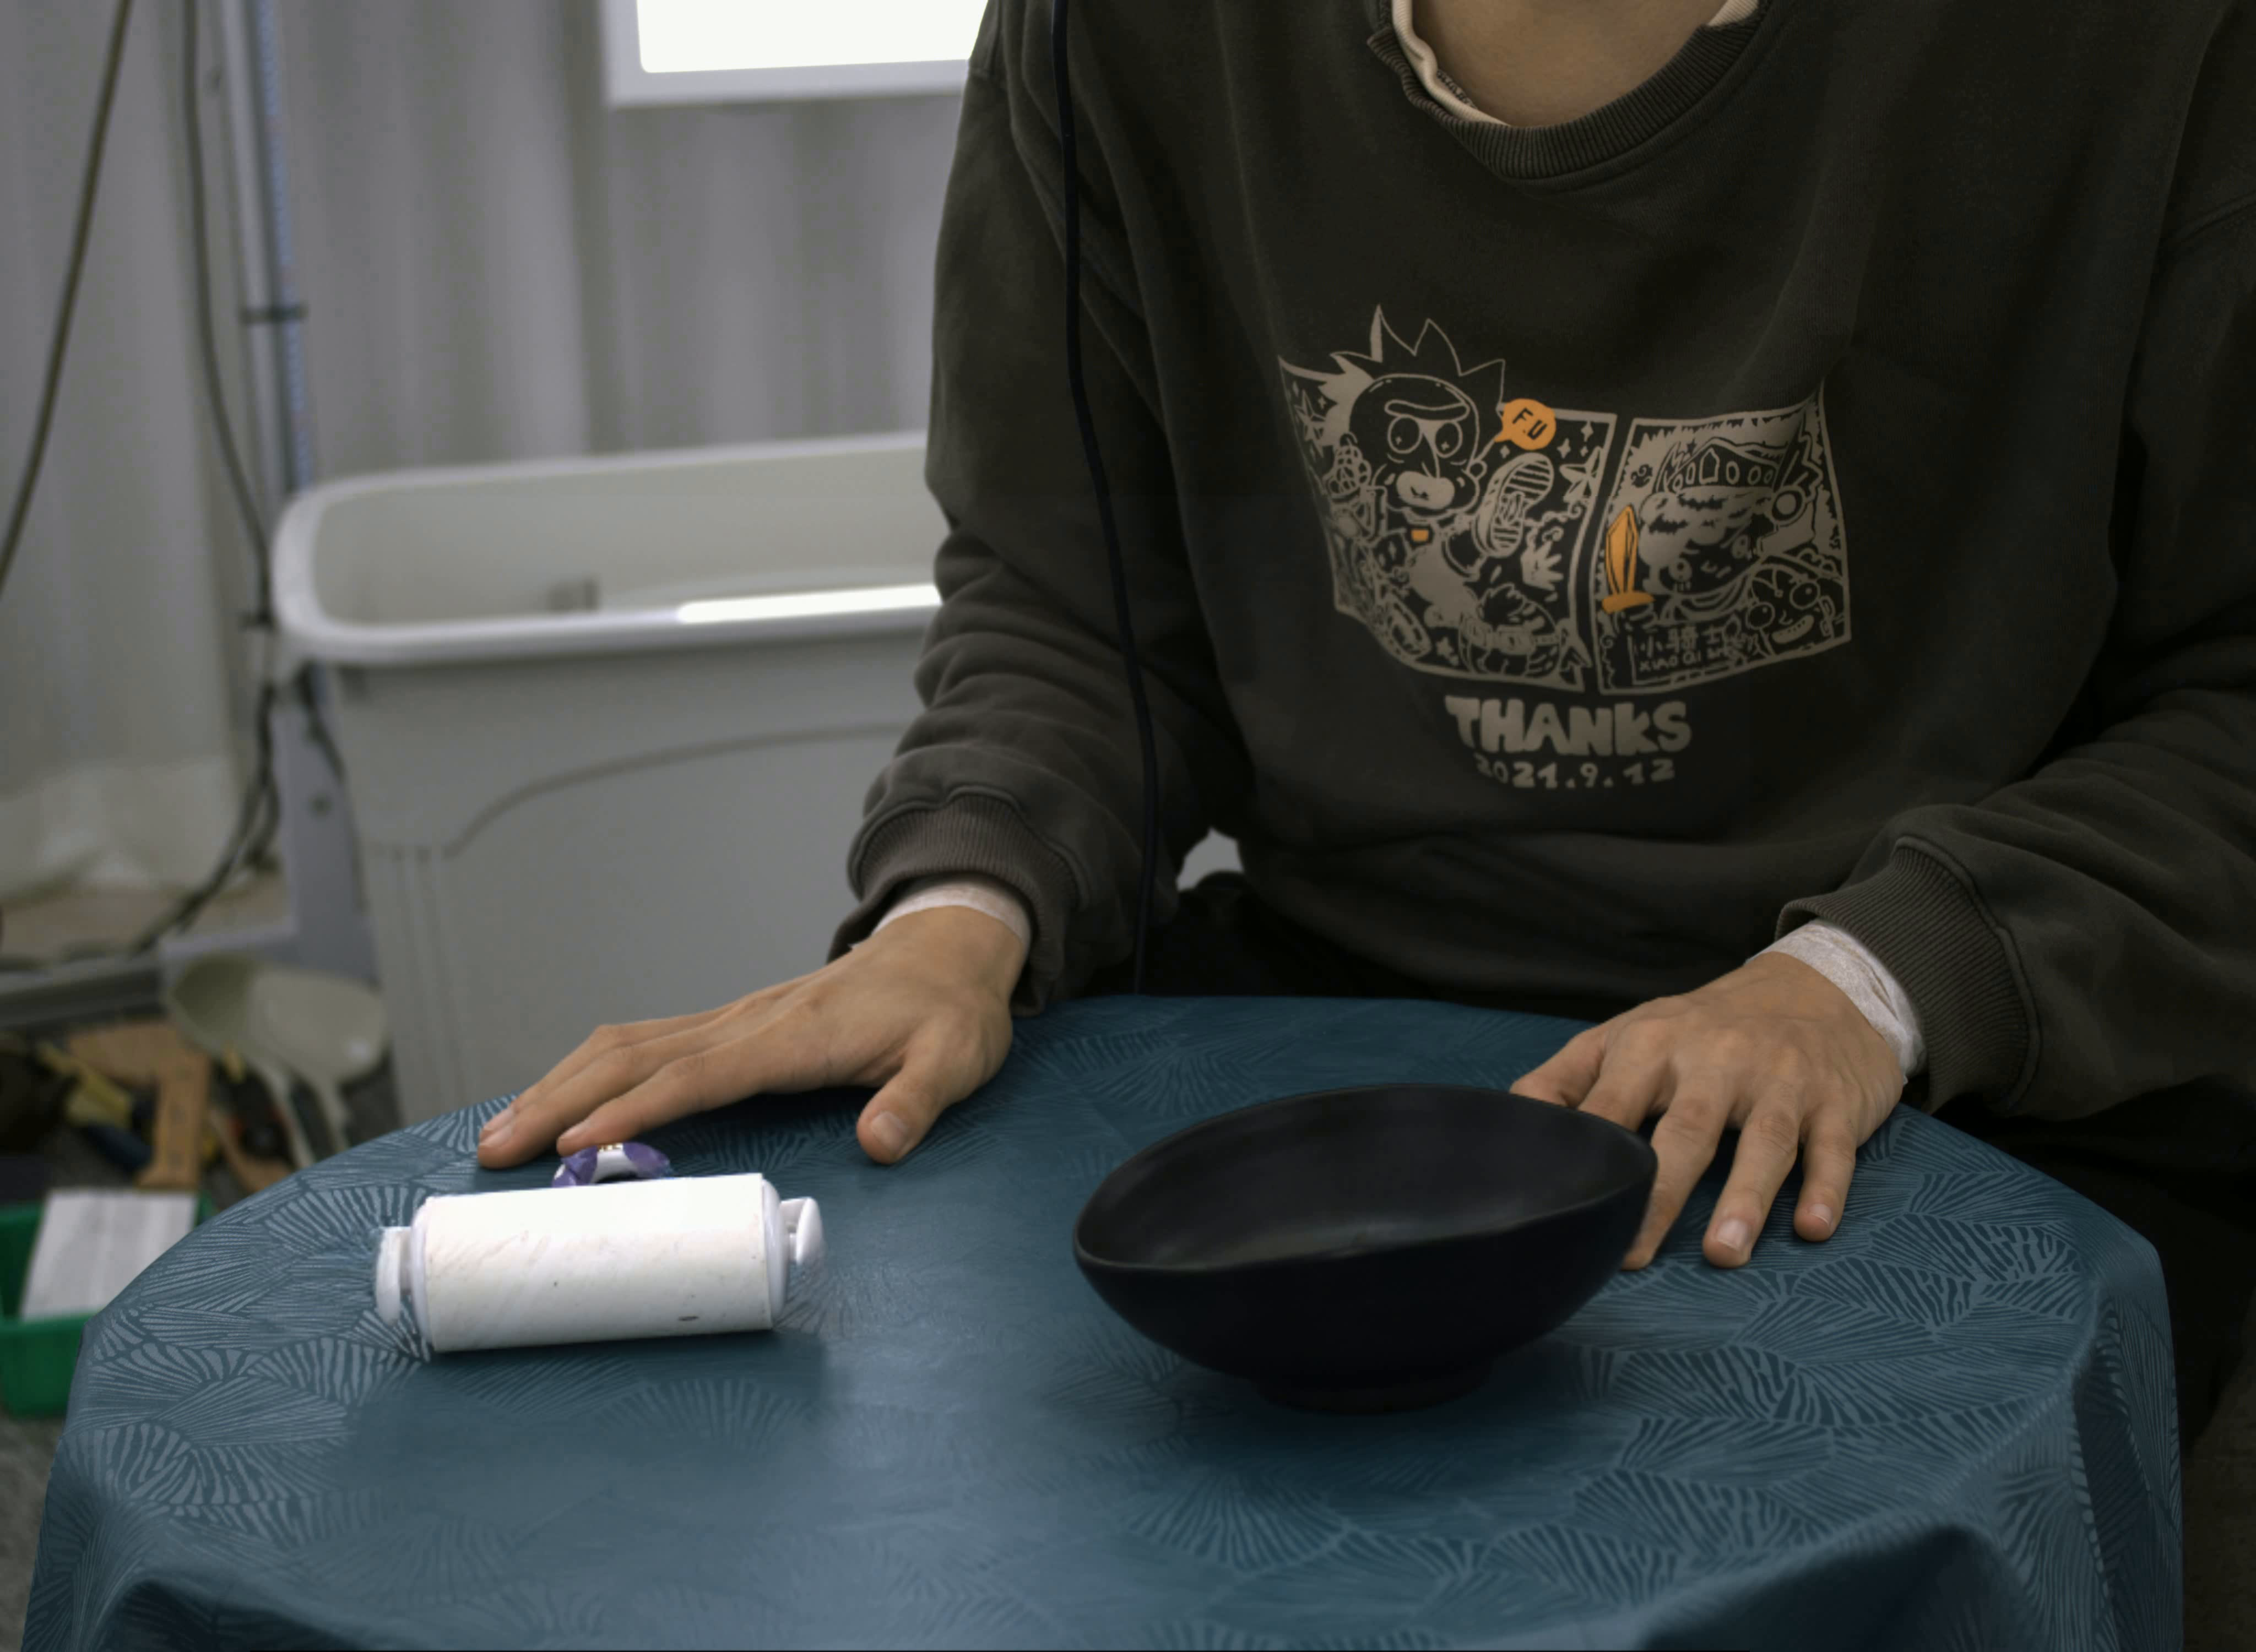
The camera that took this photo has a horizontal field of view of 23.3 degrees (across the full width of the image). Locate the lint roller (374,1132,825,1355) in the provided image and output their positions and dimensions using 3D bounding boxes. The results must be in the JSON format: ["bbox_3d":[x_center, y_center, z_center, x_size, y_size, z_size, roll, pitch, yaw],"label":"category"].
[{"bbox_3d":[-0.158,0.111,1.675,0.132,0.050,0.182,-4,17,-1],"label":"lint roller"}]

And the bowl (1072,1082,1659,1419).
[{"bbox_3d":[0.070,0.126,1.546,0.169,0.066,0.138,-9,15,-17],"label":"bowl"}]
